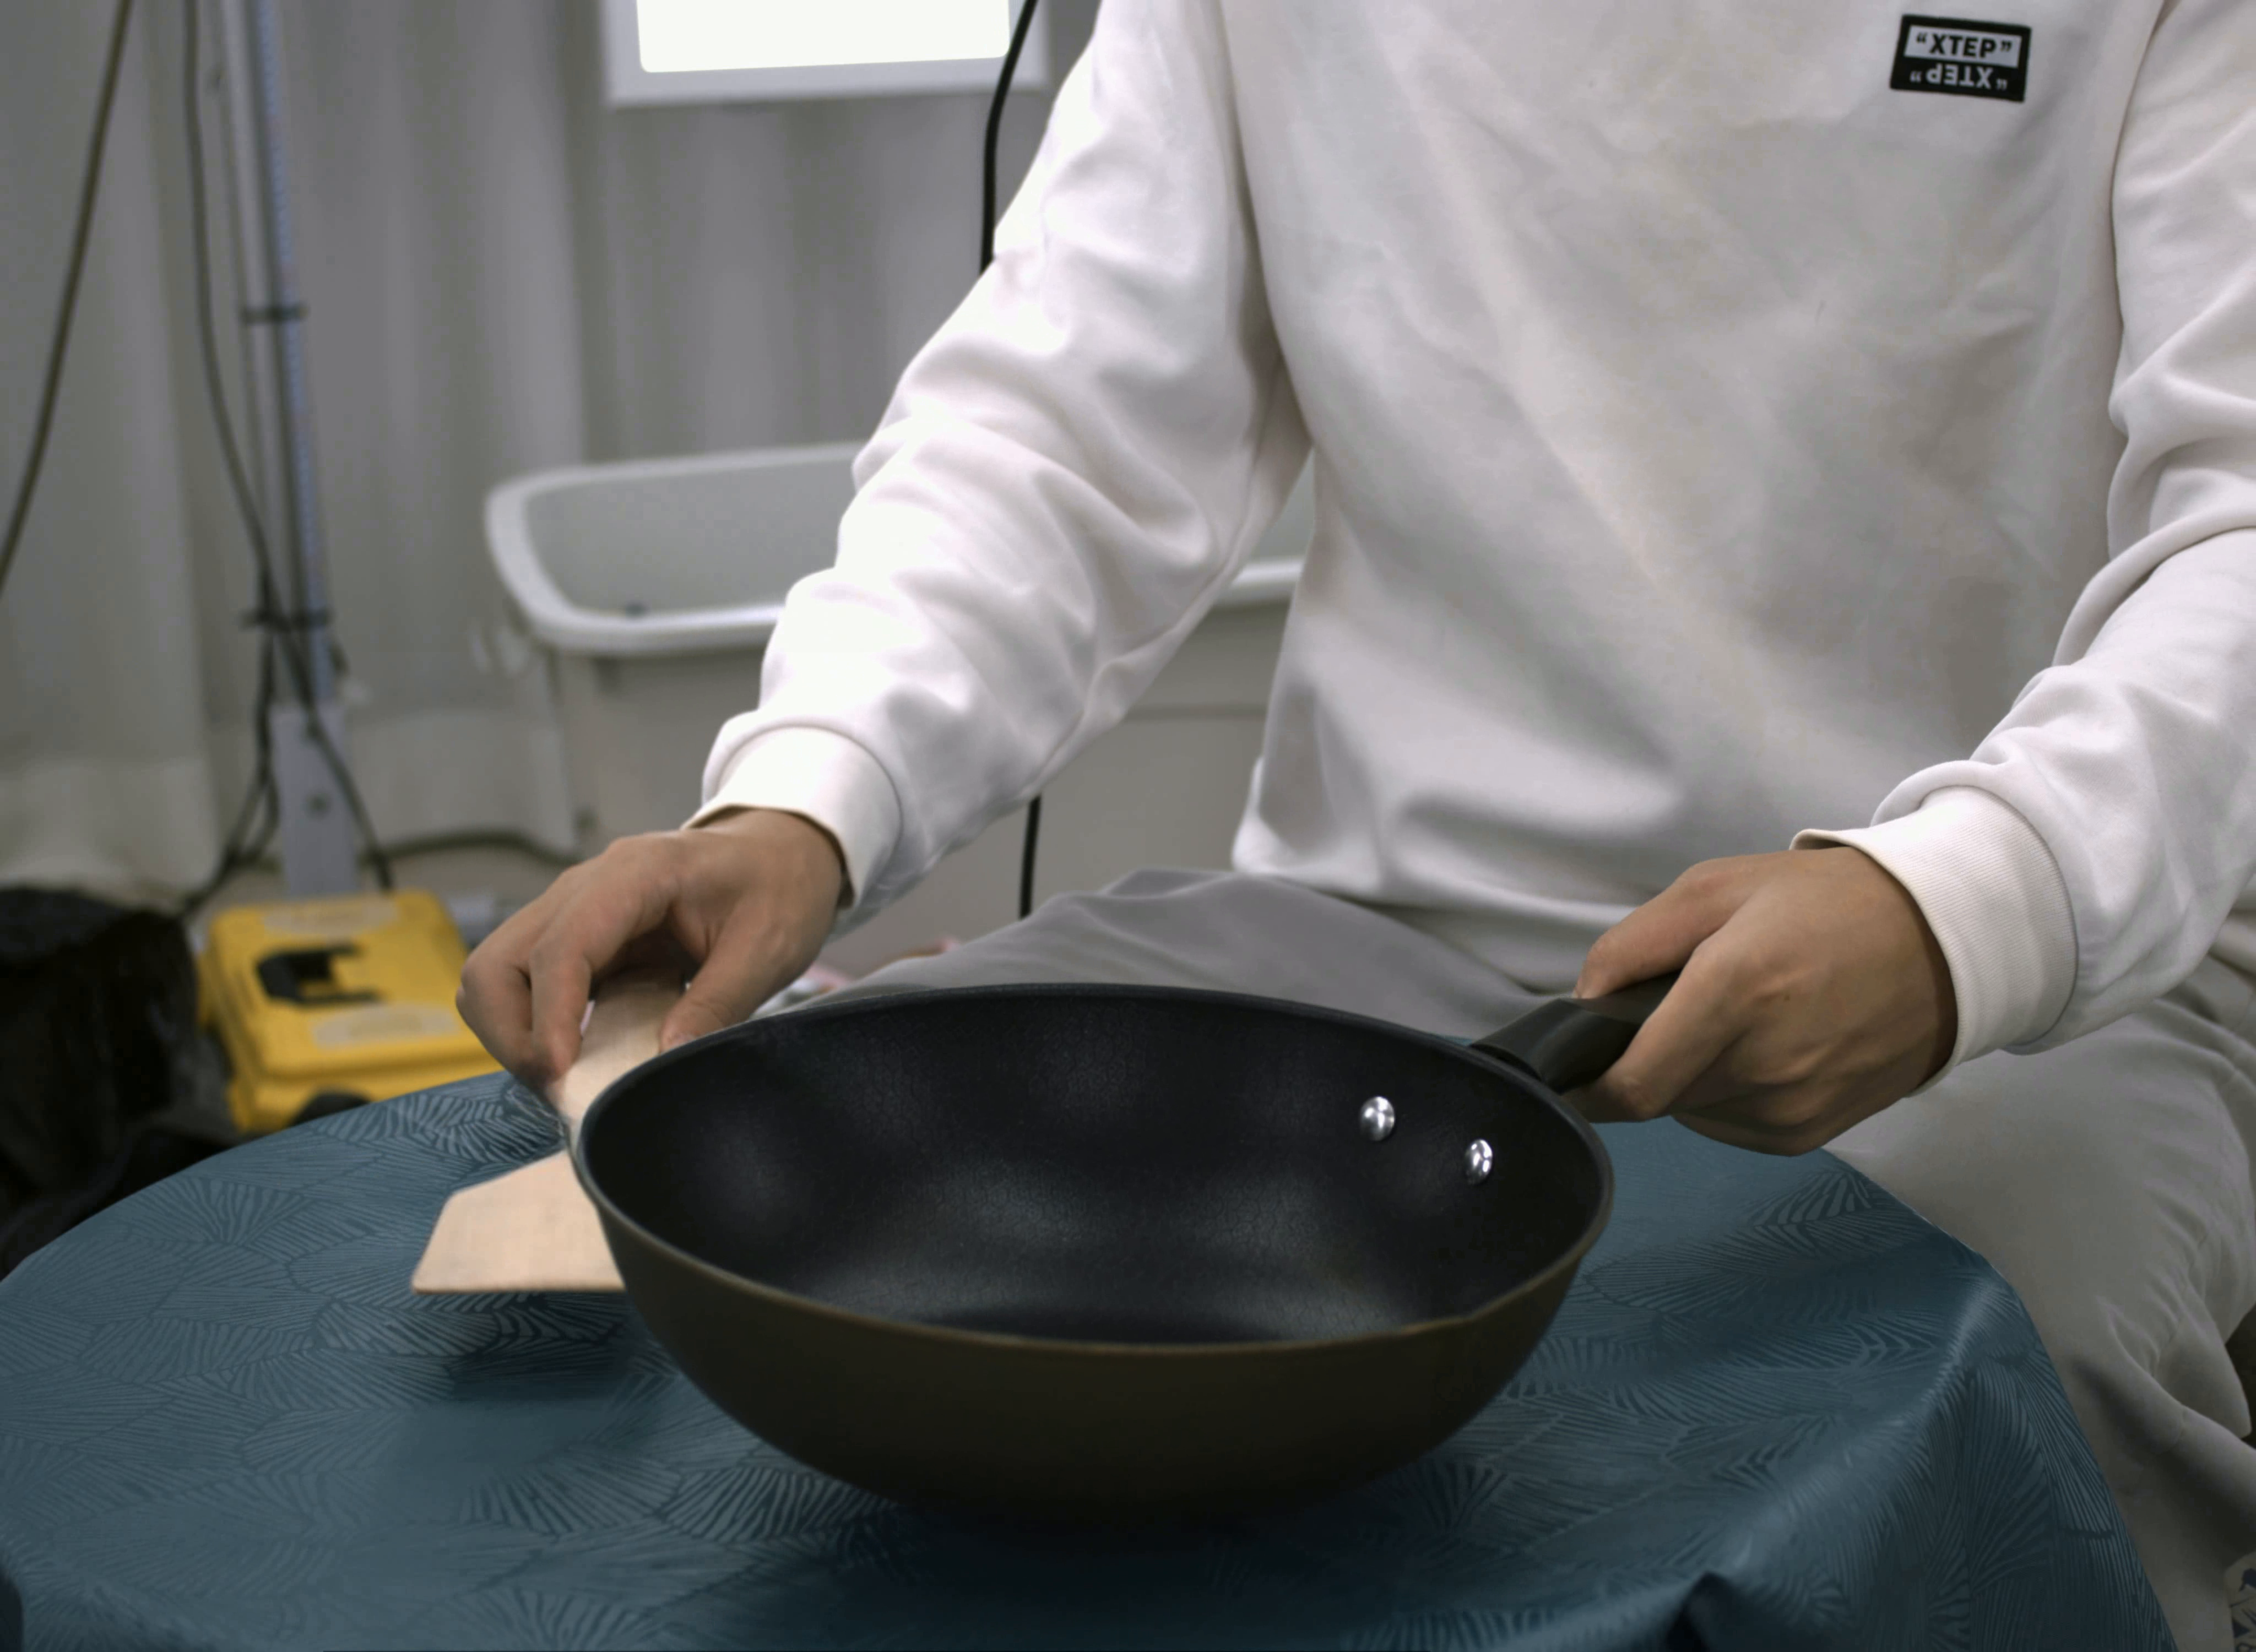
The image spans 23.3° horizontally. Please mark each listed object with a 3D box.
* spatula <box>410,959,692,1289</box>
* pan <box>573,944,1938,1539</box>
[{"bbox_3d":[-0.168,0.091,1.712,0.072,0.010,0.295,-2,17,3],"label":"spatula"},{"bbox_3d":[0.058,0.108,1.534,0.462,0.086,0.290,-12,22,-40],"label":"pan"}]
